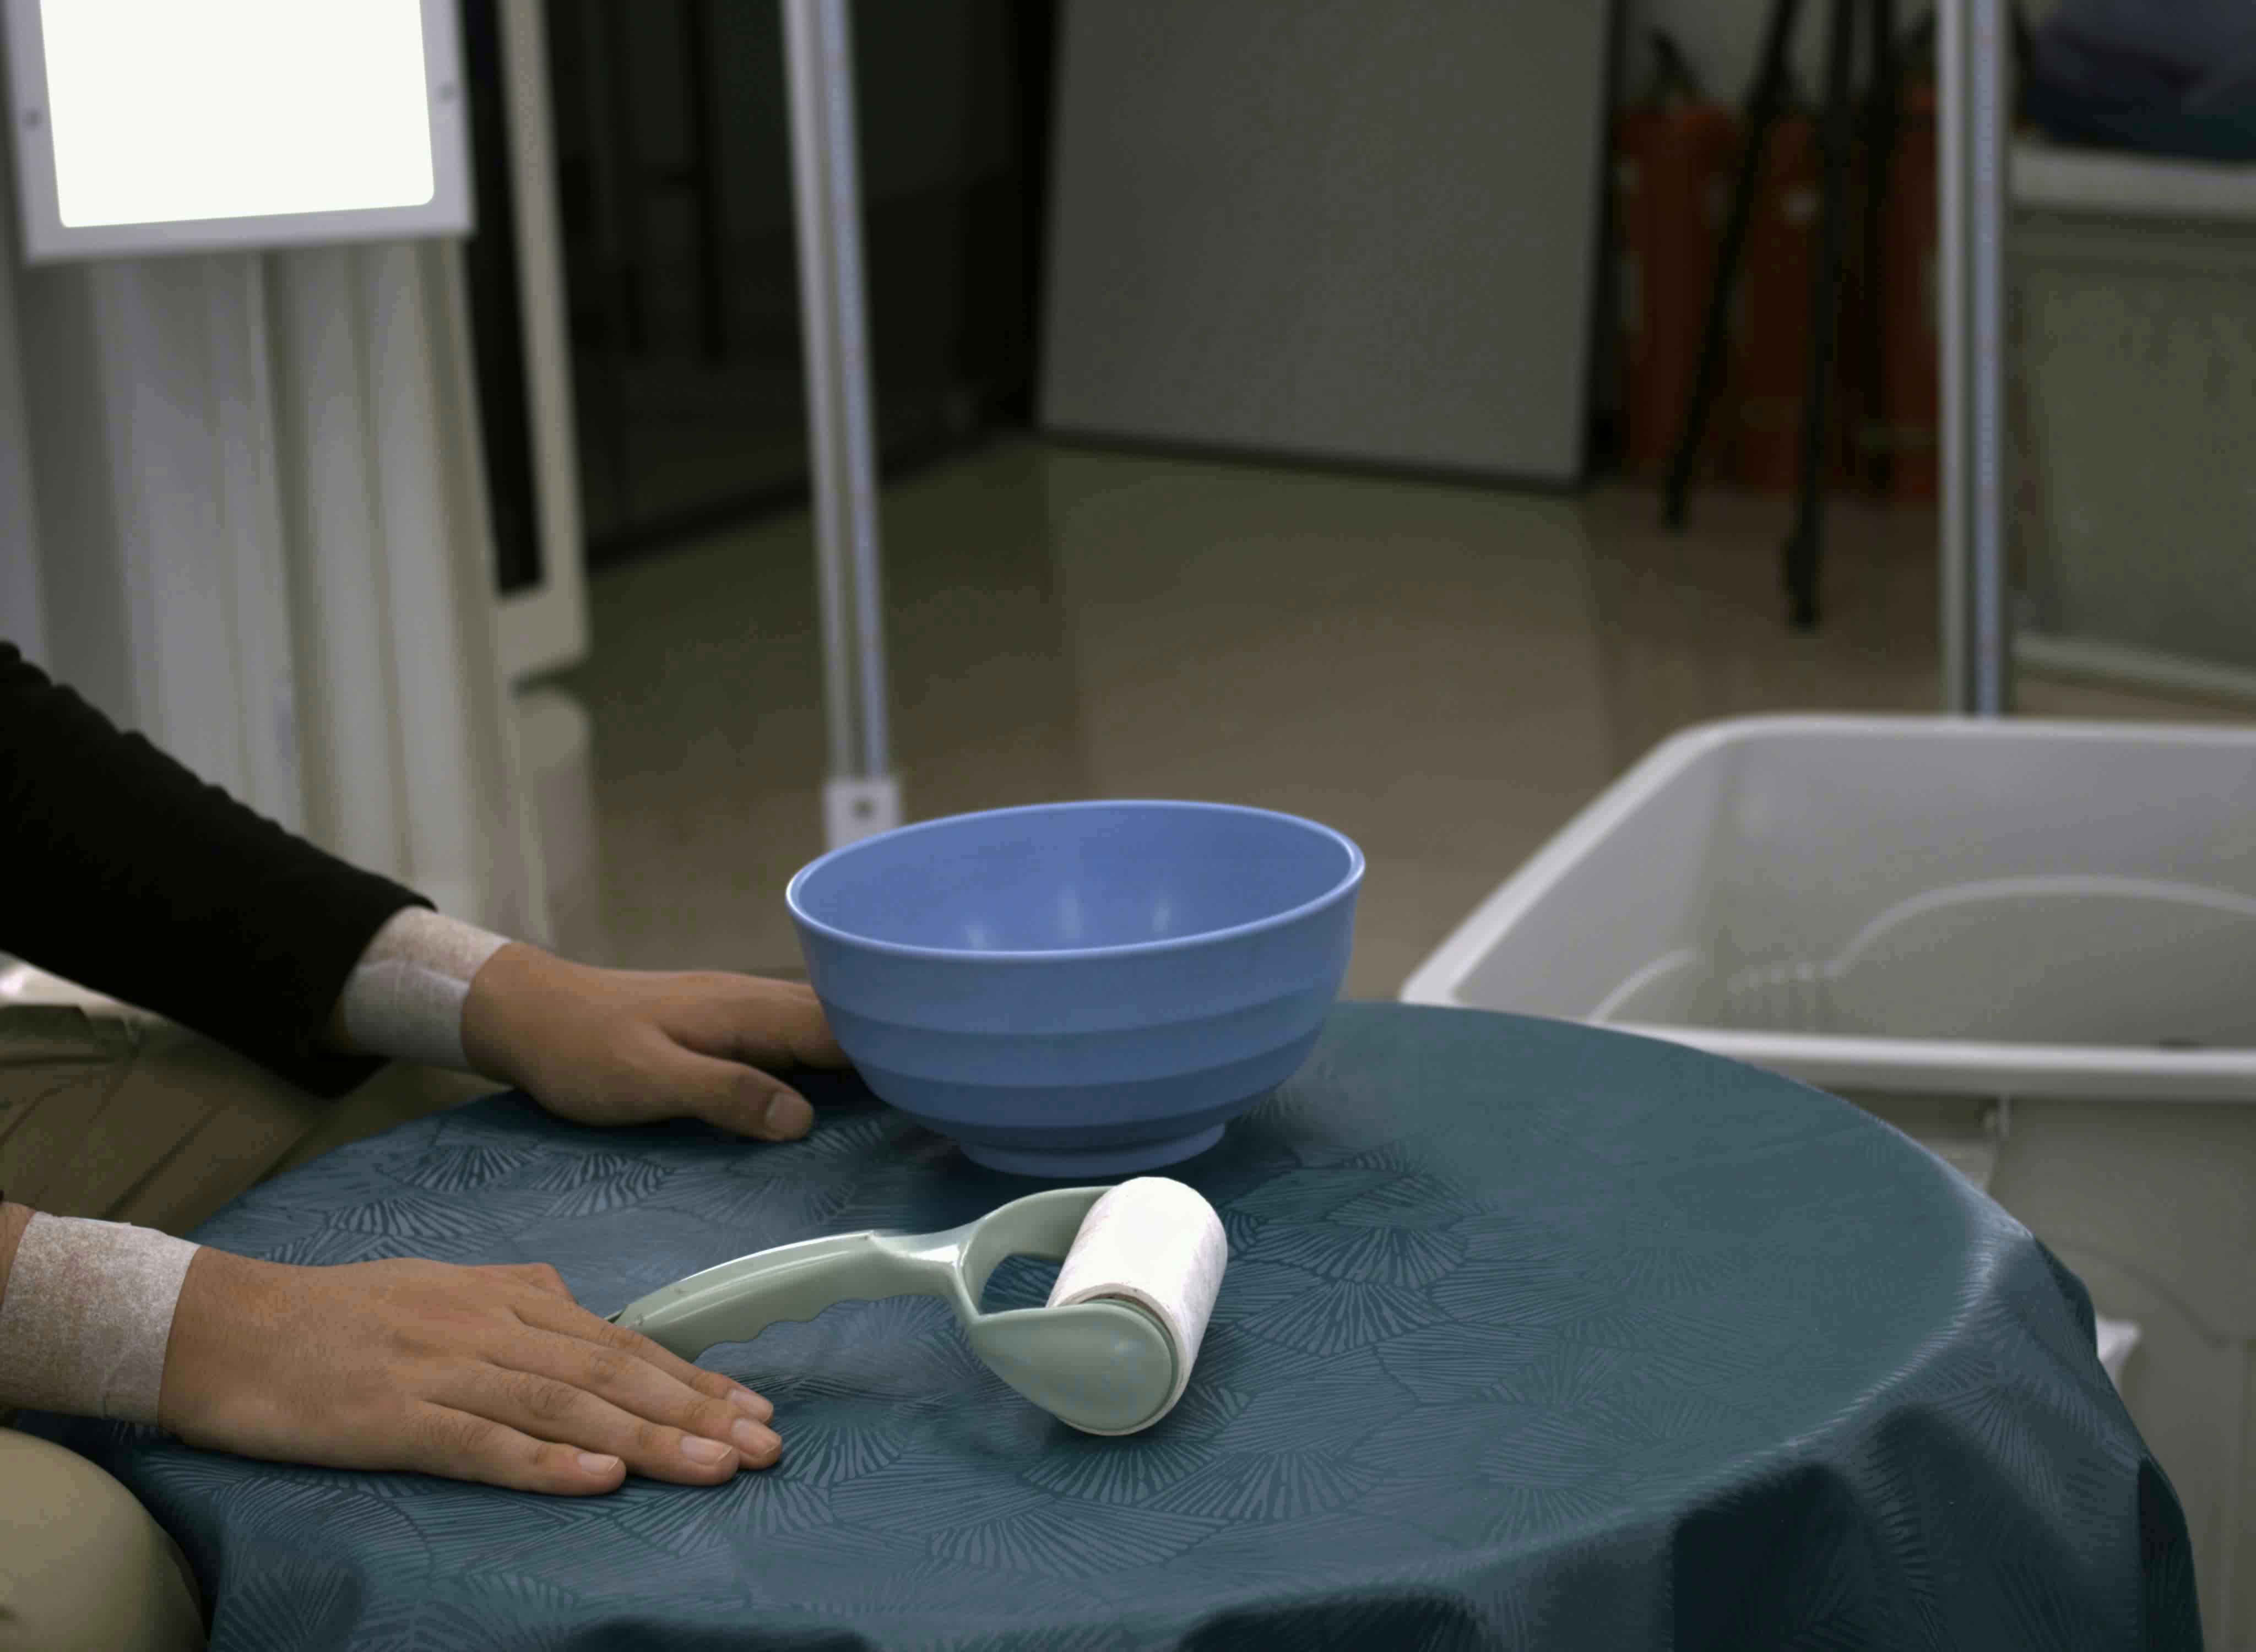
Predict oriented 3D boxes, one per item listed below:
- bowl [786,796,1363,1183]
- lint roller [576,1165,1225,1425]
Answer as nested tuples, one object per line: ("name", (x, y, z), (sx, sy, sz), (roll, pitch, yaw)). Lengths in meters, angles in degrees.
("bowl", (-0.015, 0.061, 1.819), (0.194, 0.096, 0.197), (-5, 15, 0))
("lint roller", (-0.069, 0.143, 1.610), (0.196, 0.049, 0.116), (-3, 15, 10))
